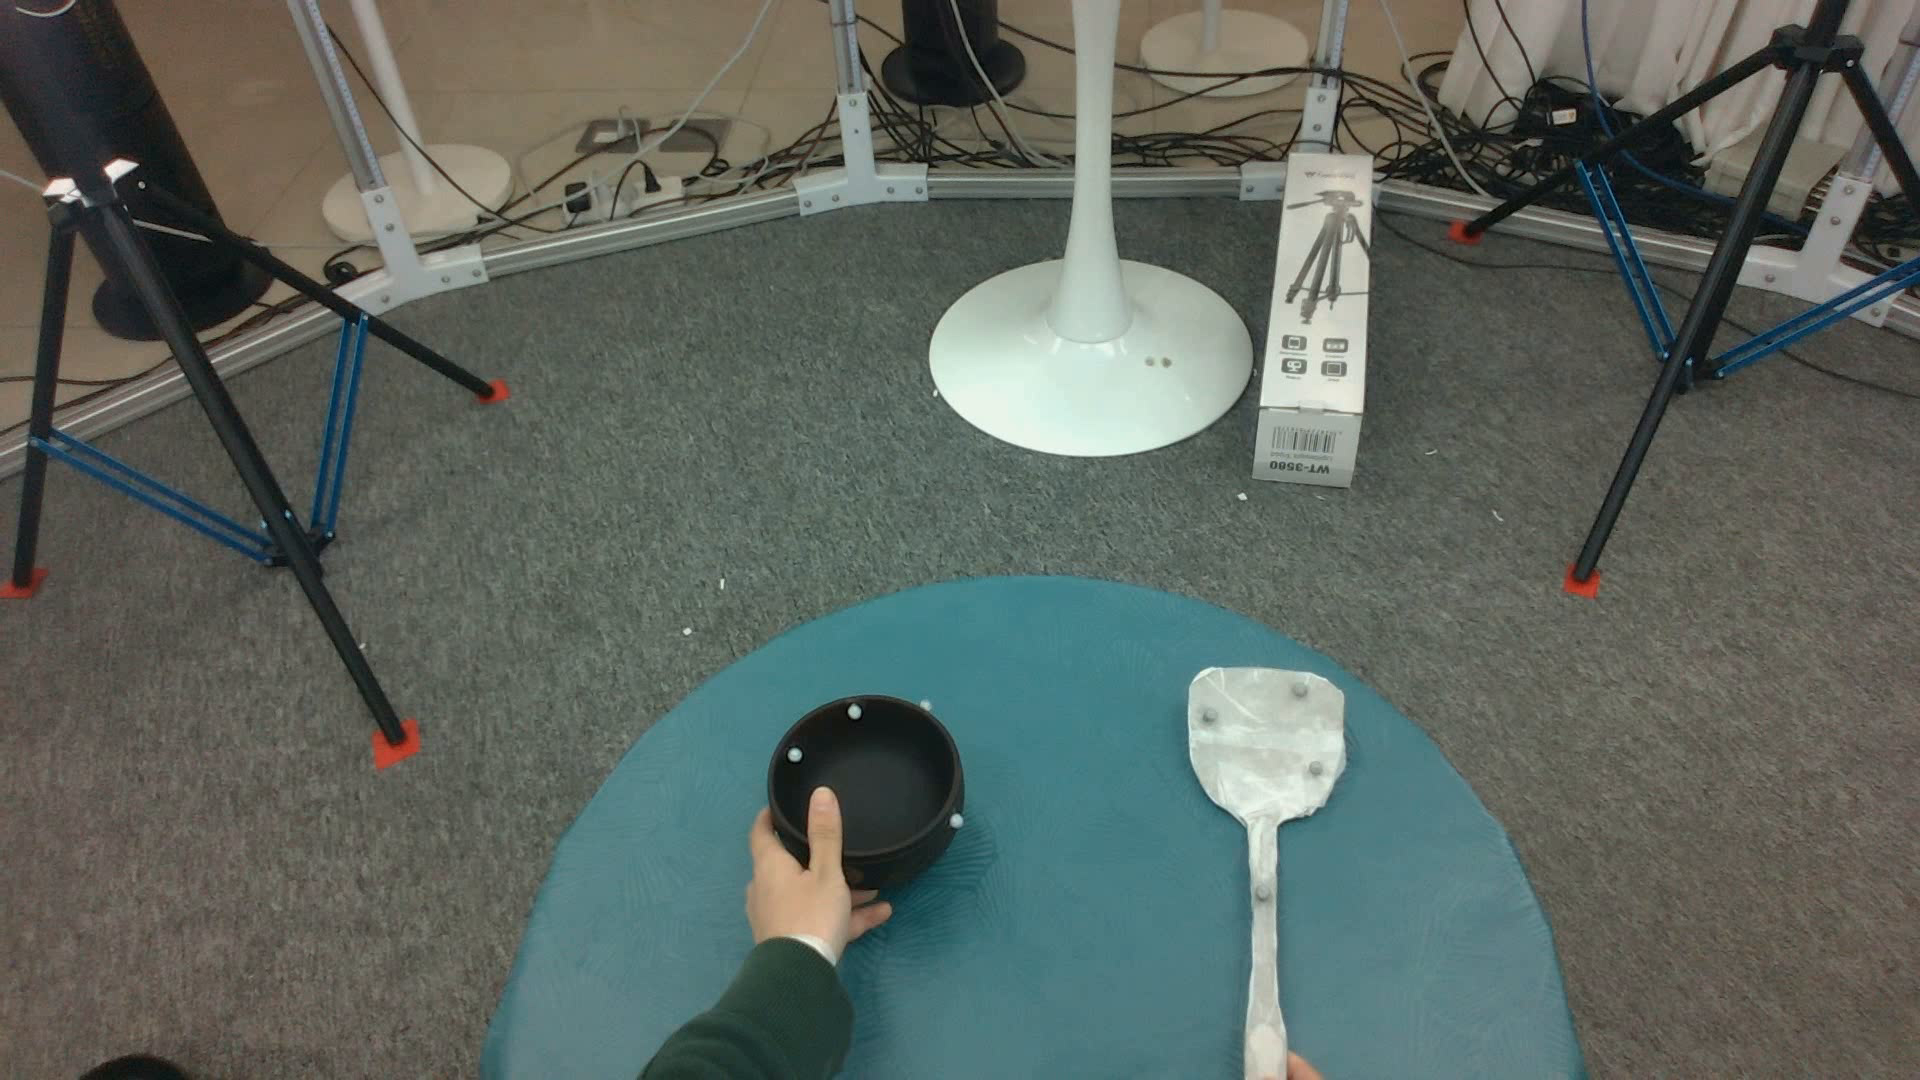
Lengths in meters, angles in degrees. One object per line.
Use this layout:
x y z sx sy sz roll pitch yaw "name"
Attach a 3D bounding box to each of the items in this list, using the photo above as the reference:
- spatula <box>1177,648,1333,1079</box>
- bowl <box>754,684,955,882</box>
0.162 0.210 0.777 0.098 0.044 0.367 6 43 8 "spatula"
-0.061 0.152 0.827 0.118 0.069 0.118 -2 46 3 "bowl"
